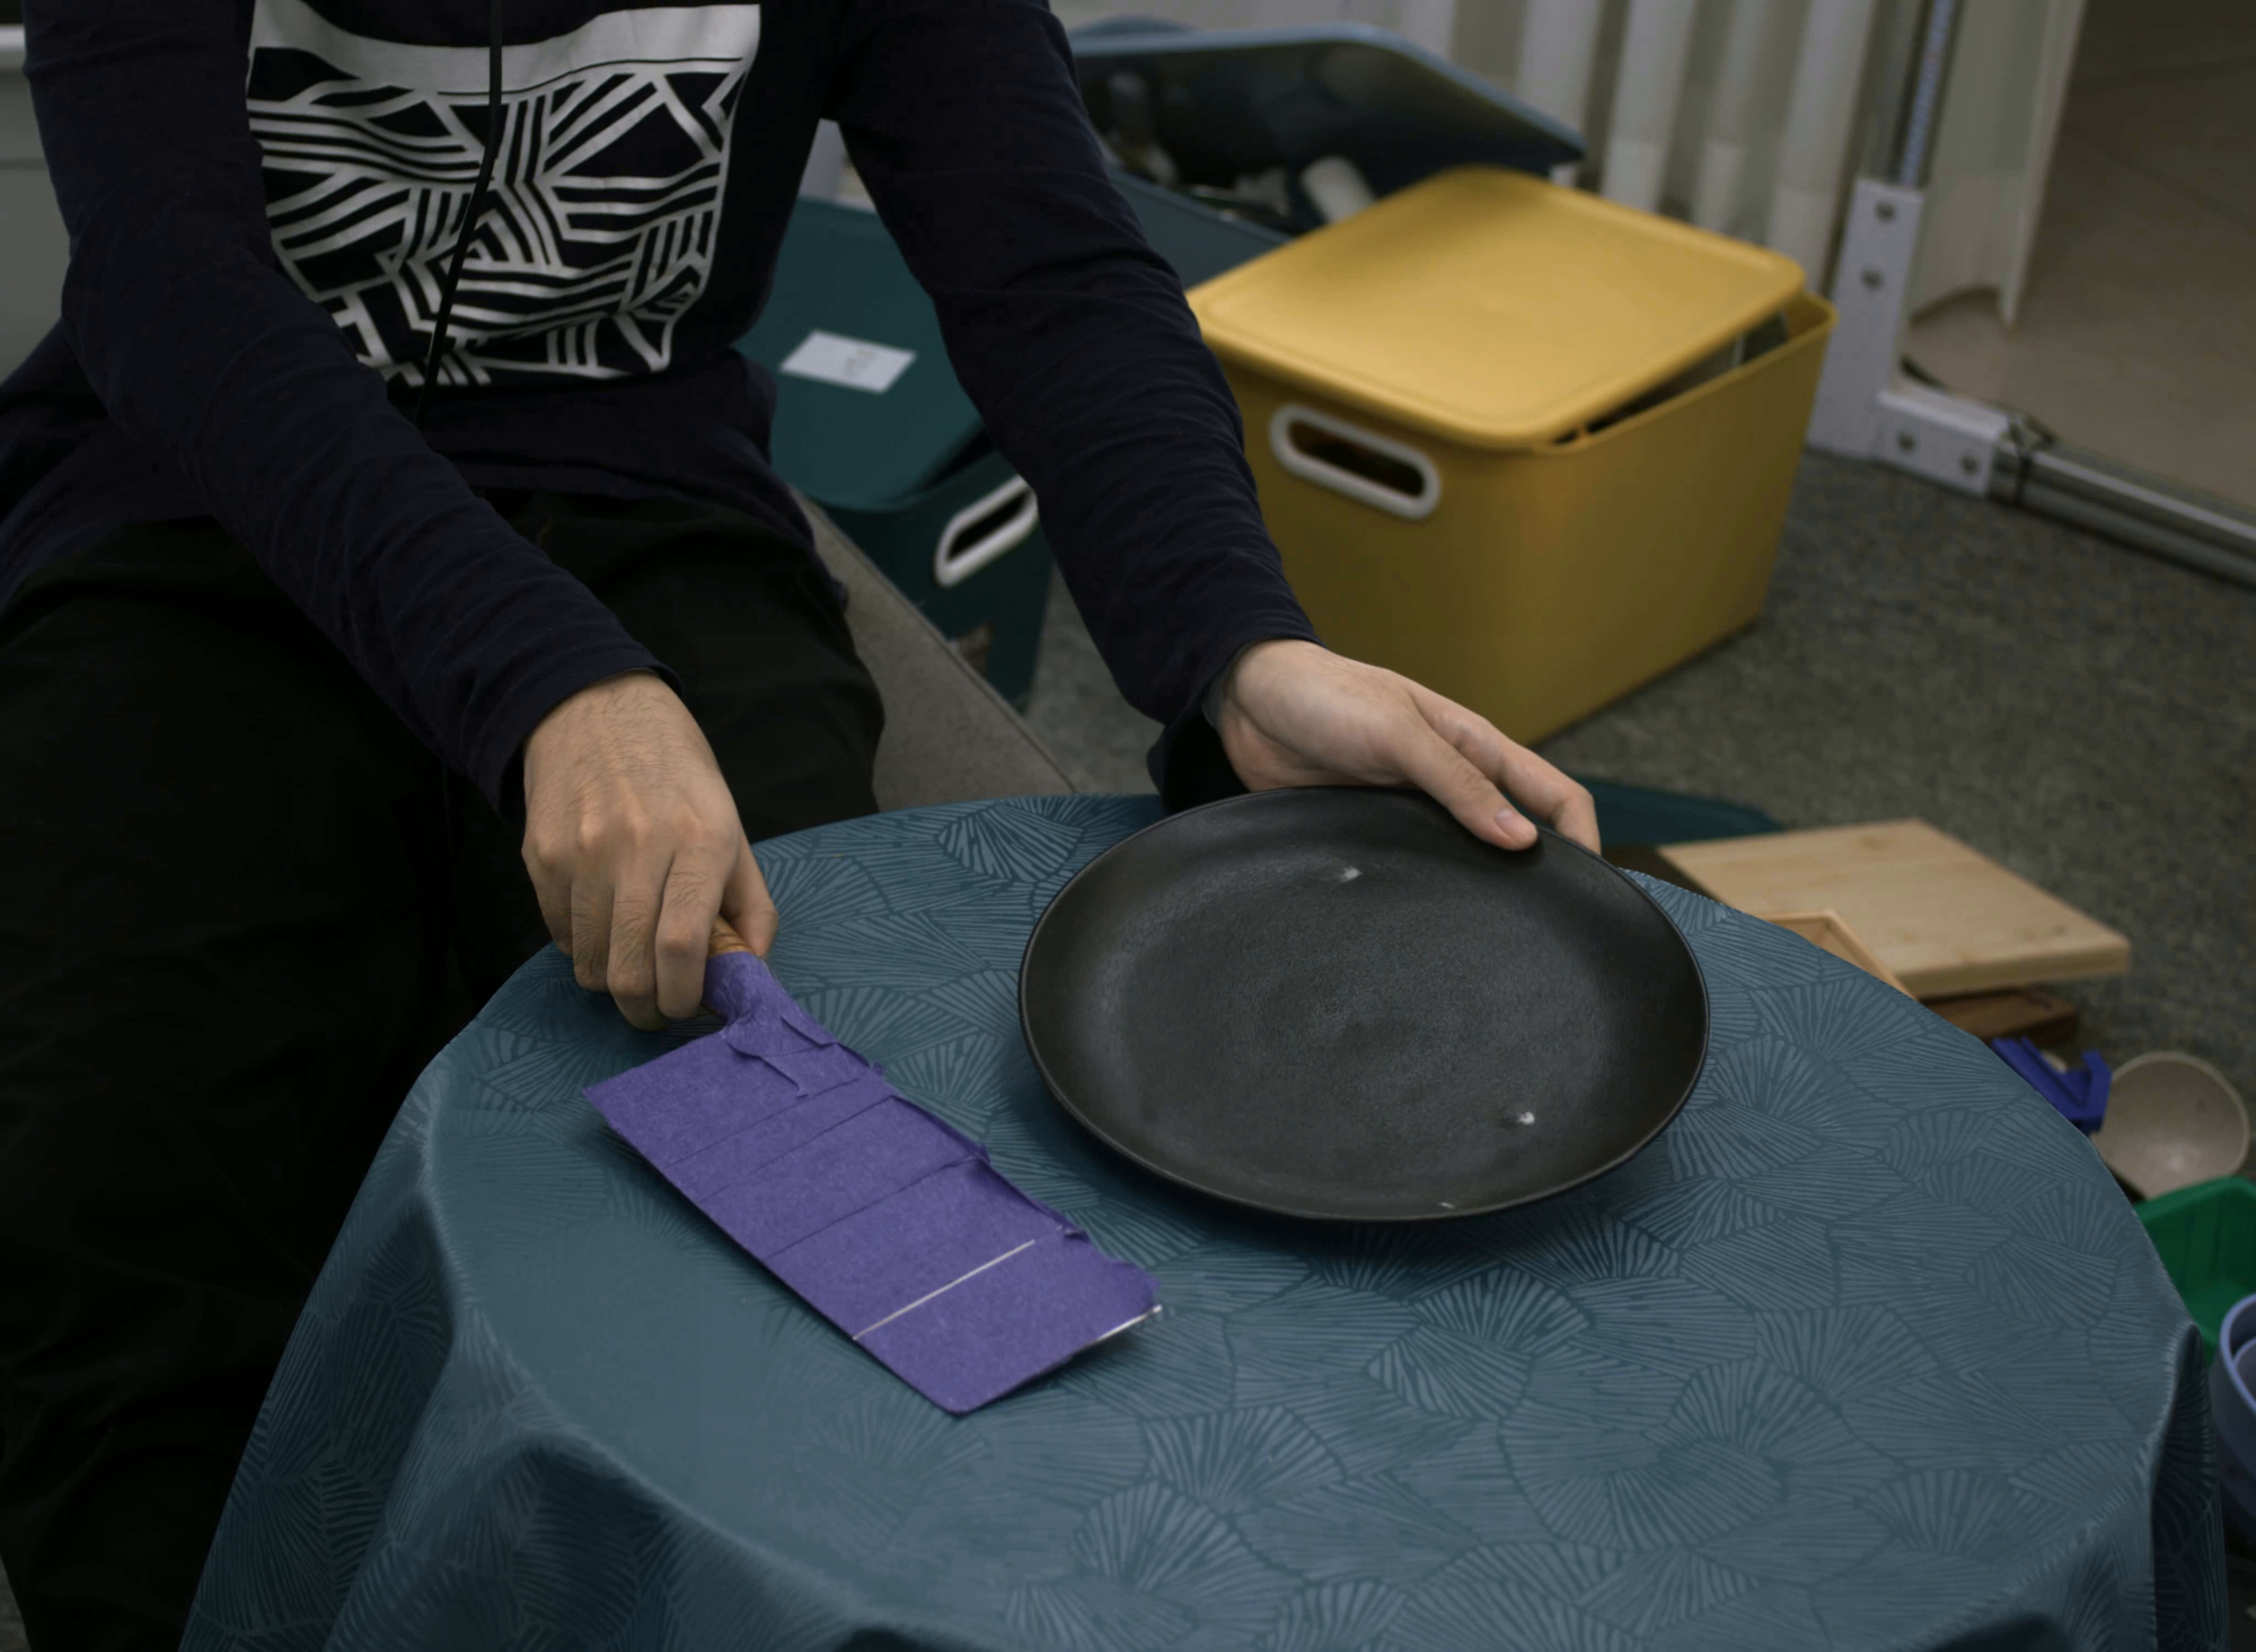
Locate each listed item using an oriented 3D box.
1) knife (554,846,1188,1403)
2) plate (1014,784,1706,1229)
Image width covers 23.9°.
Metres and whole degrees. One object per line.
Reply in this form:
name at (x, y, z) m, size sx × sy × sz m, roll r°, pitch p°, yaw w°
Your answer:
knife at (-0.117, 0.096, 1.789) m, size 0.103 × 0.032 × 0.318 m, roll -22°, pitch 39°, yaw -34°
plate at (0.081, 0.066, 1.872) m, size 0.244 × 0.023 × 0.246 m, roll 0°, pitch 37°, yaw 0°
